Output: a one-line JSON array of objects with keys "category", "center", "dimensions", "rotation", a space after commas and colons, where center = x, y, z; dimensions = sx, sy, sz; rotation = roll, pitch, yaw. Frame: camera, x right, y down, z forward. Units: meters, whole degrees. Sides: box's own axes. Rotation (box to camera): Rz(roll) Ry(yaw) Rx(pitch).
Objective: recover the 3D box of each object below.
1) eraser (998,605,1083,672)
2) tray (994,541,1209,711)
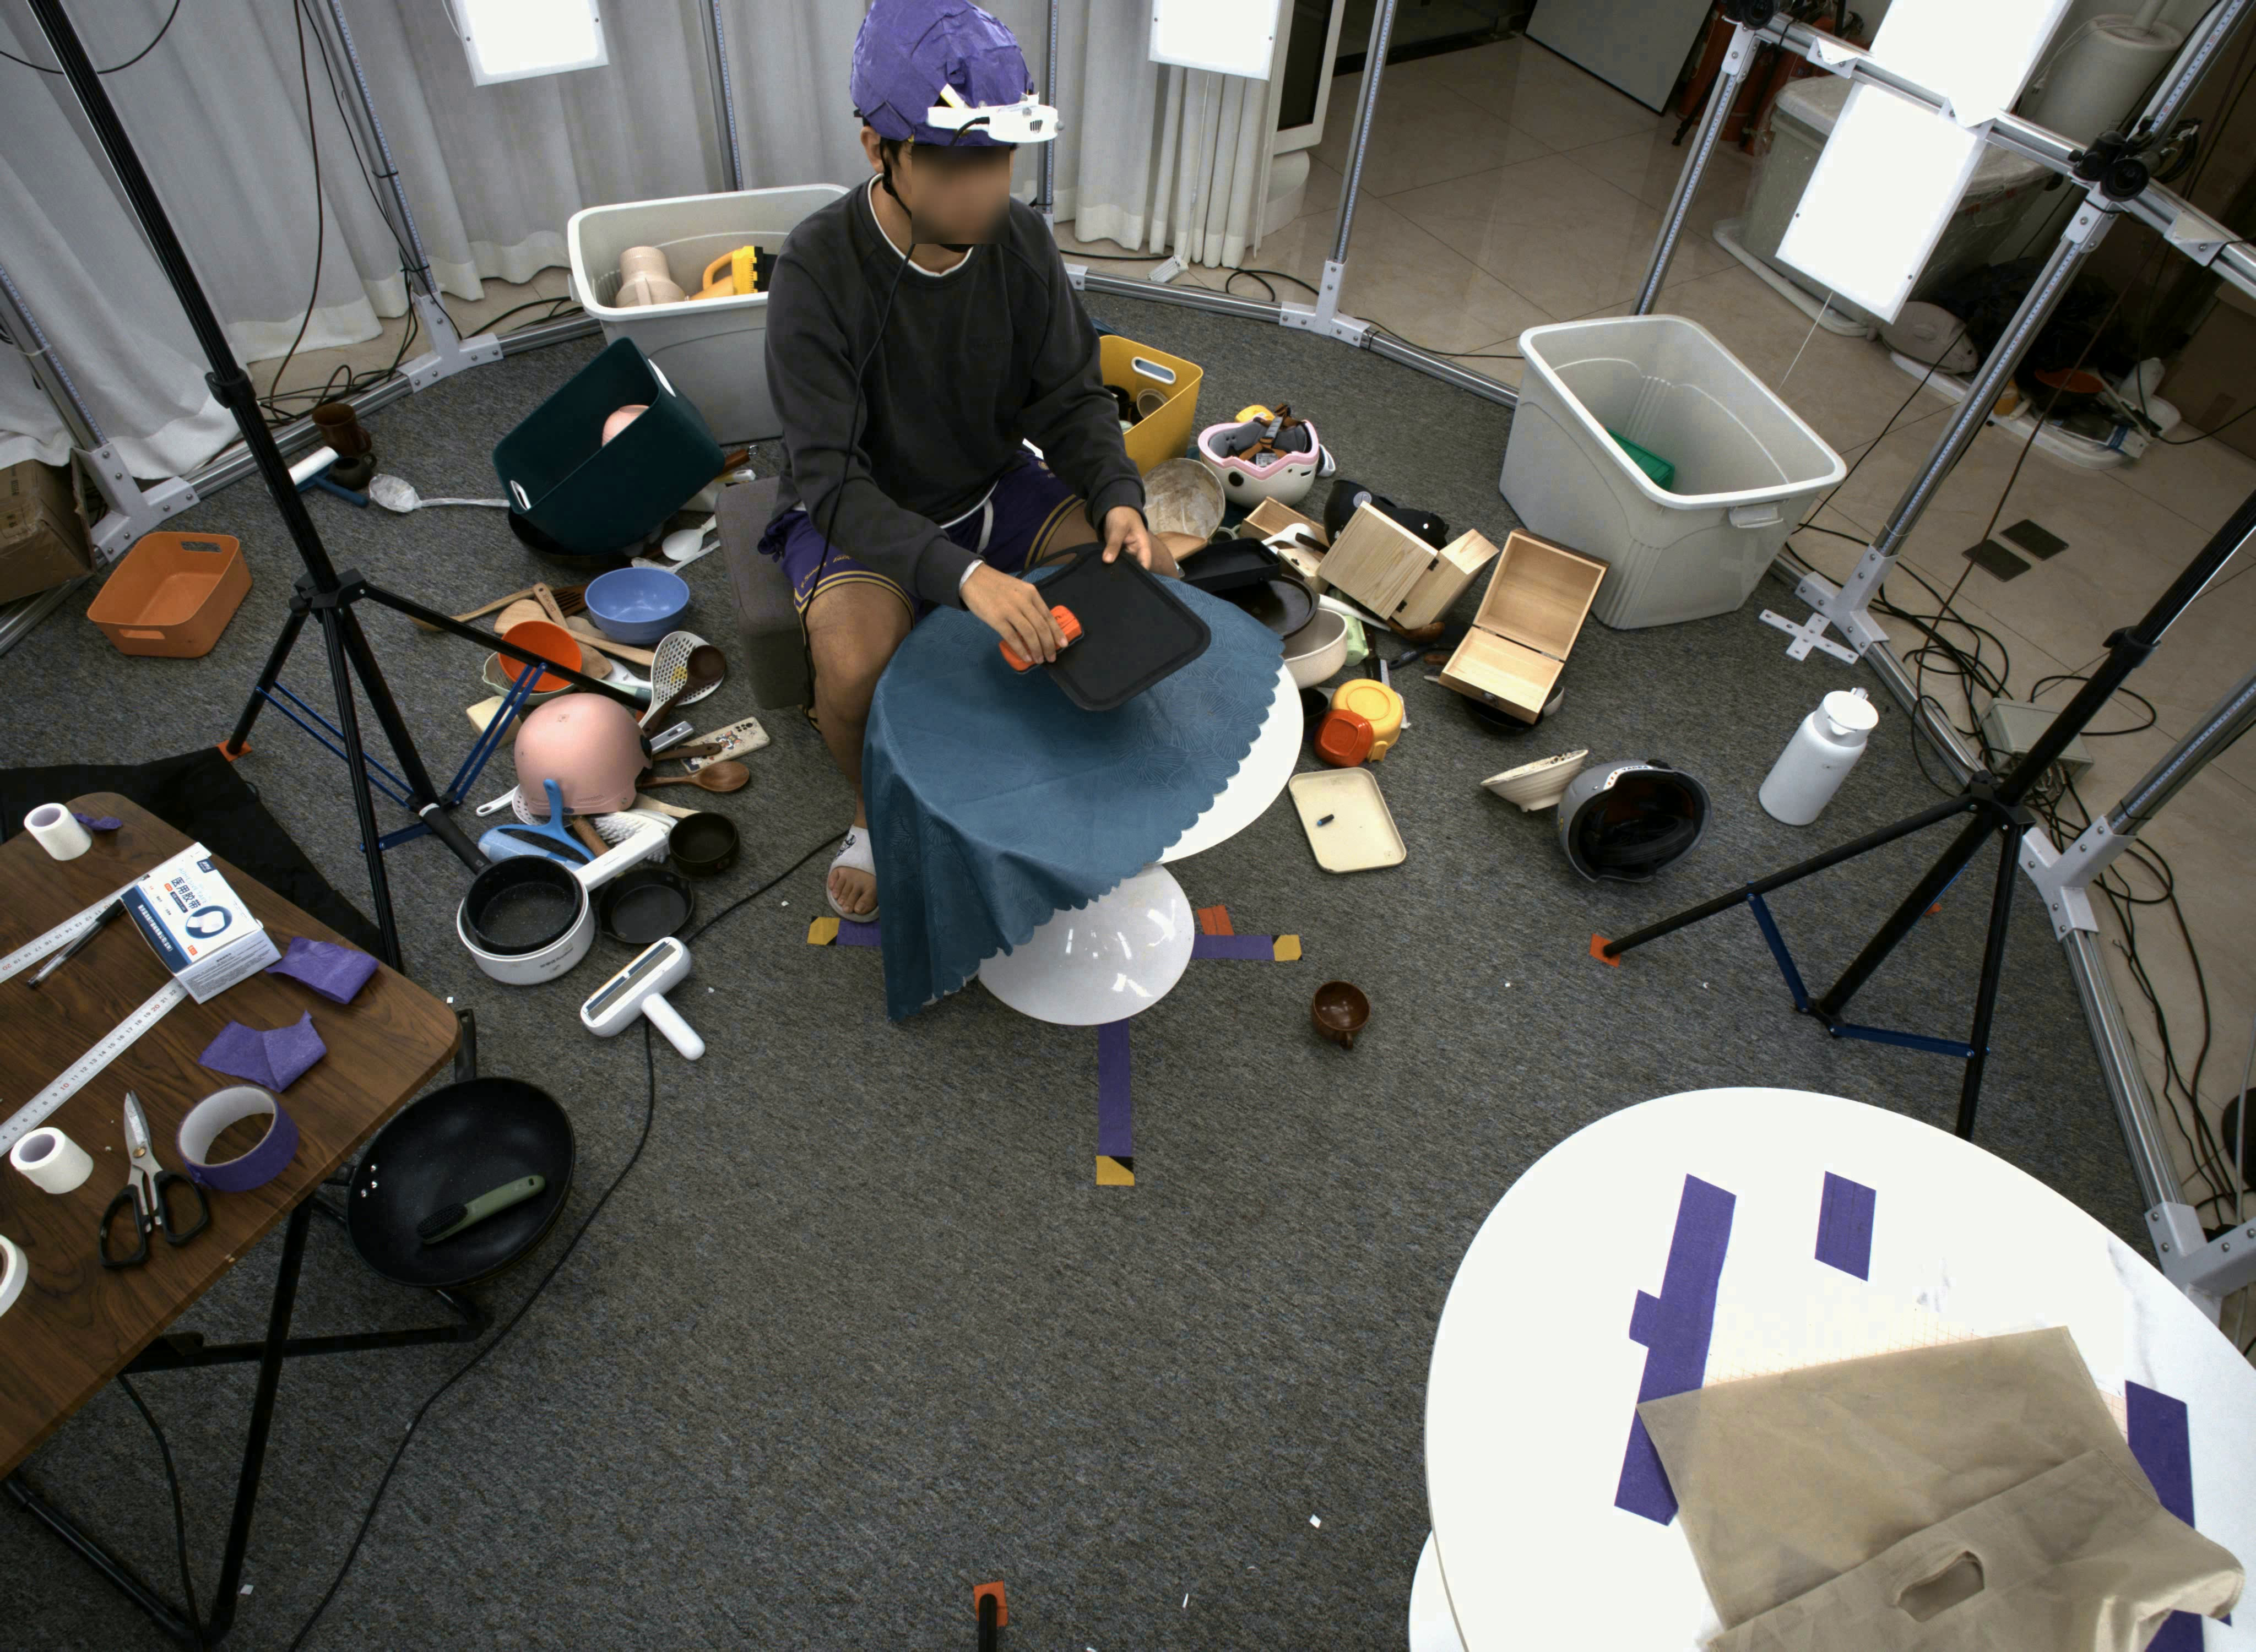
[{"category": "eraser", "center": [-0.118, -0.255, 1.744], "dimensions": [0.108, 0.022, 0.060], "rotation": [-34, 51, -16]}, {"category": "tray", "center": [-0.046, -0.287, 1.769], "dimensions": [0.212, 0.009, 0.332], "rotation": [-31, 51, -11]}]
